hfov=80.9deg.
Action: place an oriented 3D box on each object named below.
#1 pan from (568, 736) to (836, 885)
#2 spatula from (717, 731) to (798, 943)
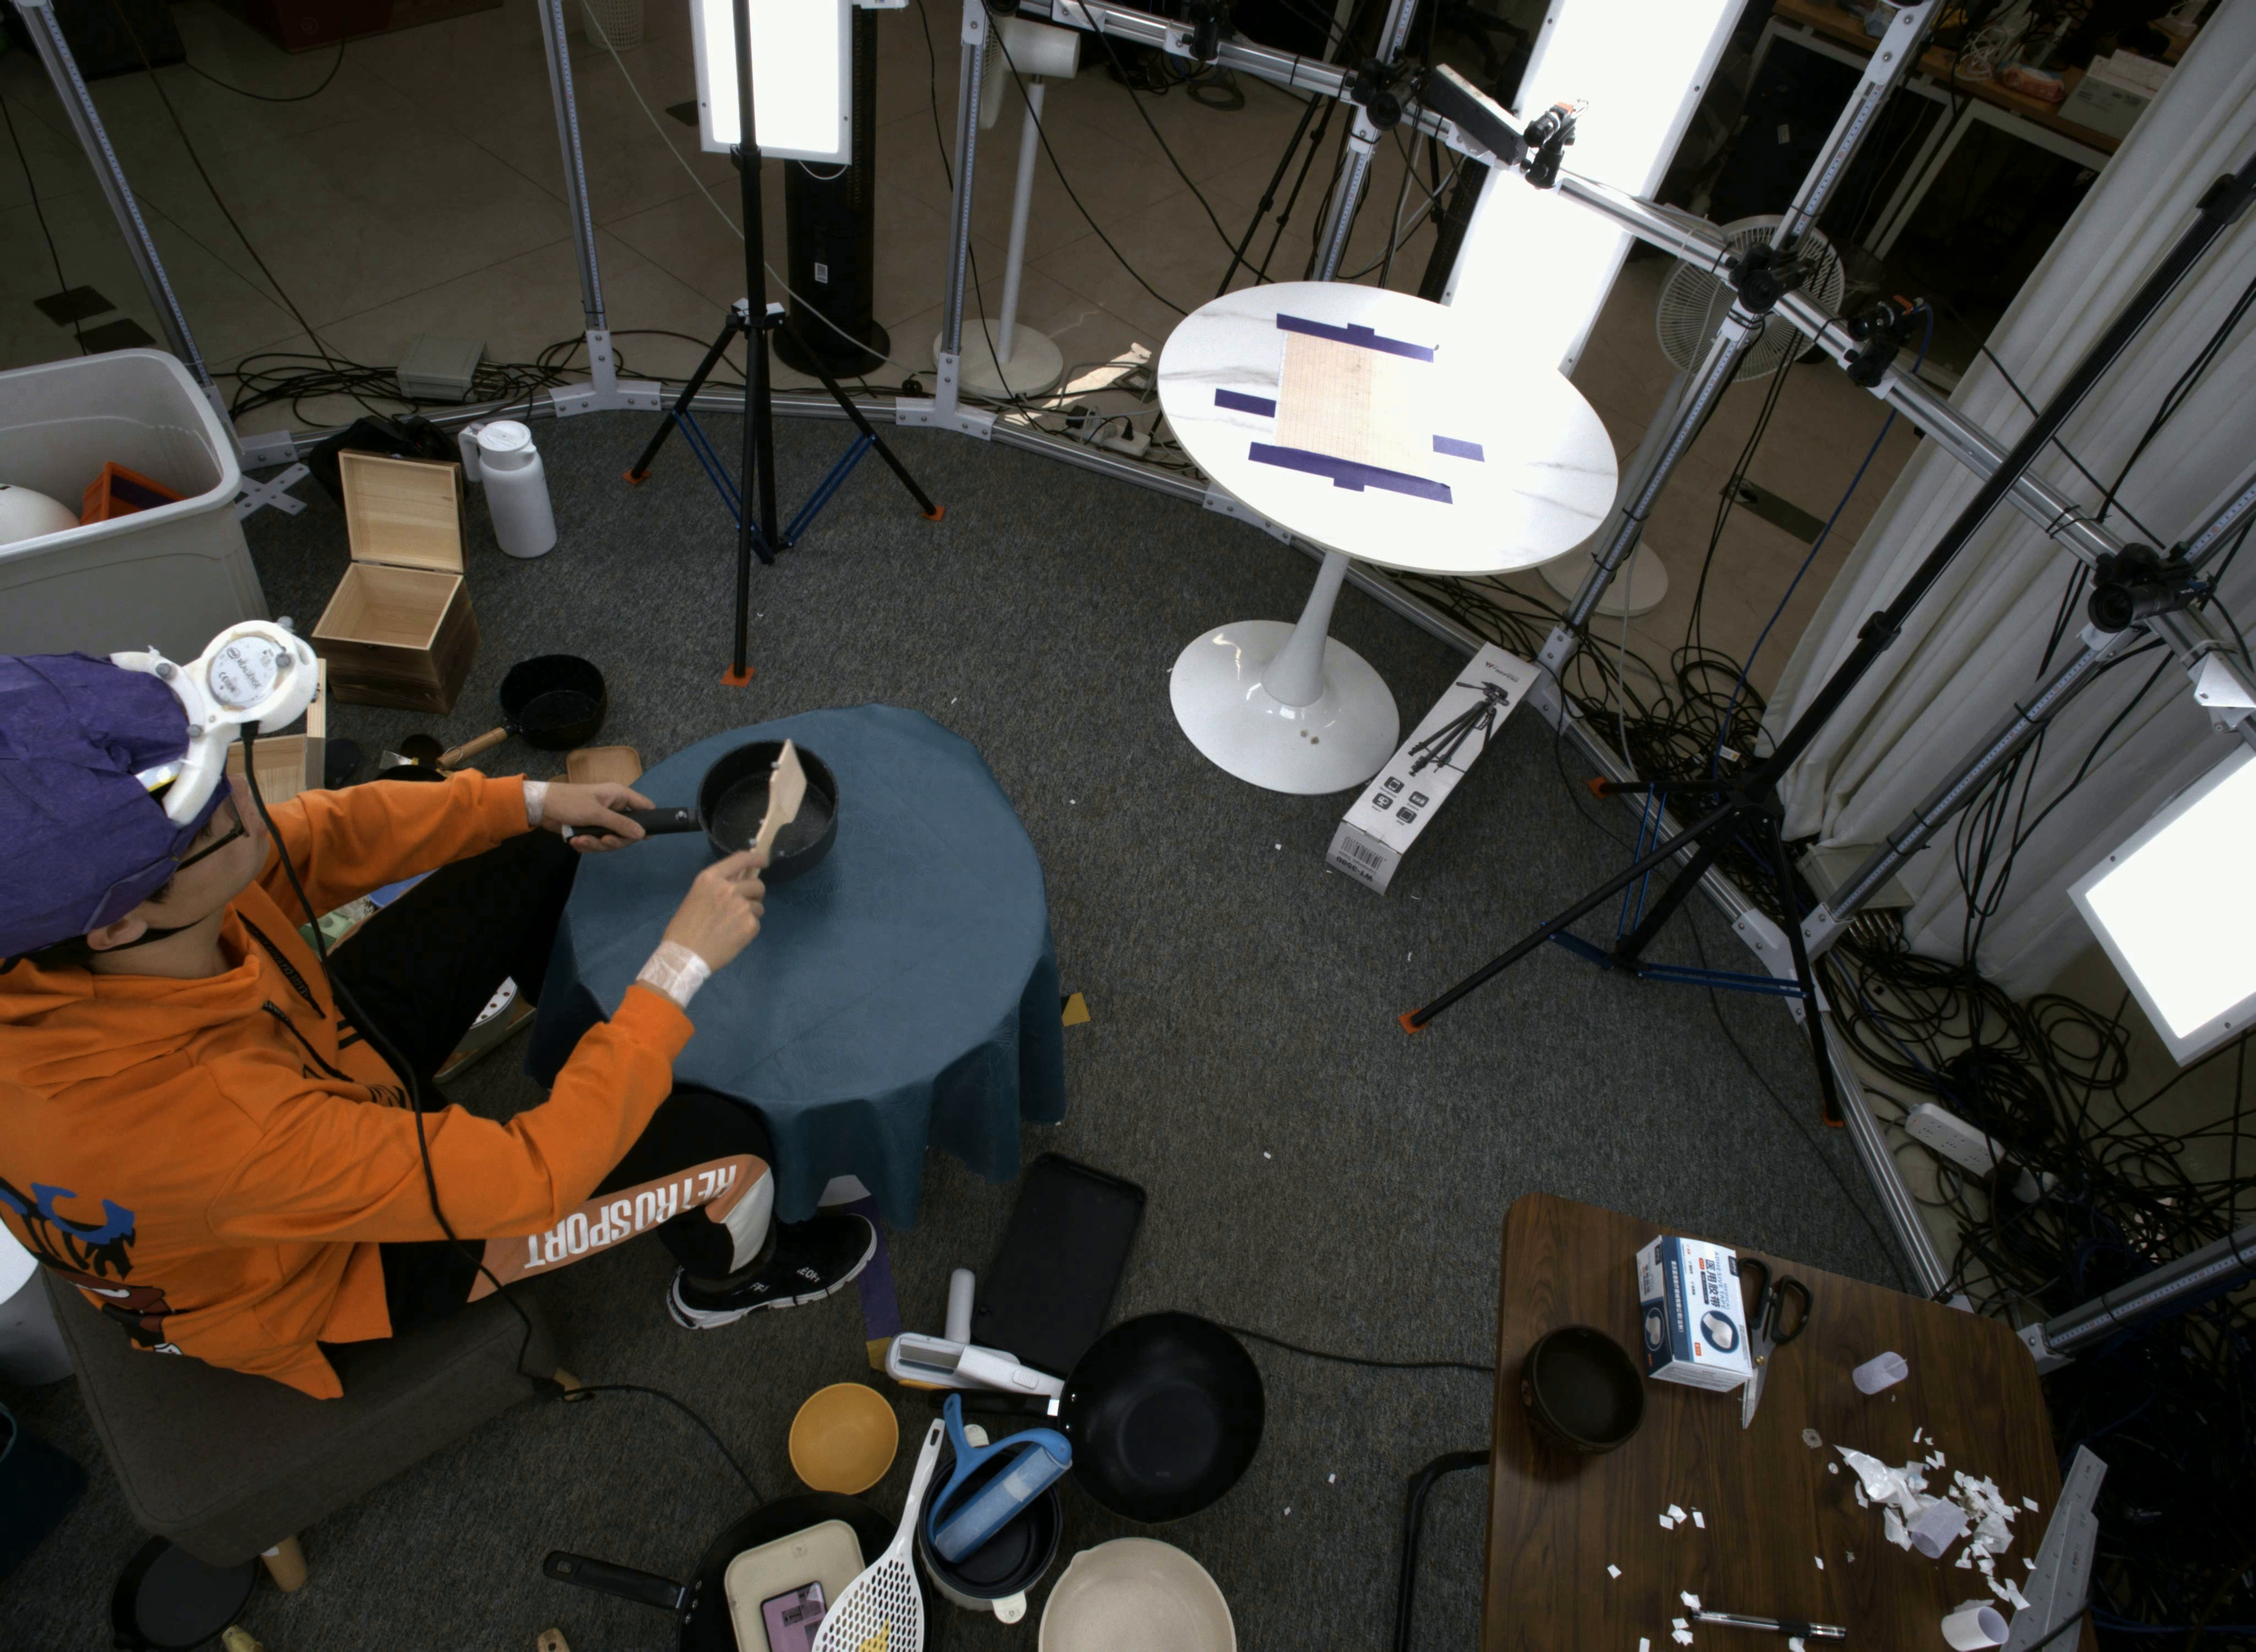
[{"bbox_3d":[-0.522,-0.009,1.579,0.329,0.087,0.169,-6,65,-17],"label":"pan"},{"bbox_3d":[-0.412,0.012,1.444,0.010,0.075,0.287,1,45,6],"label":"spatula"}]
